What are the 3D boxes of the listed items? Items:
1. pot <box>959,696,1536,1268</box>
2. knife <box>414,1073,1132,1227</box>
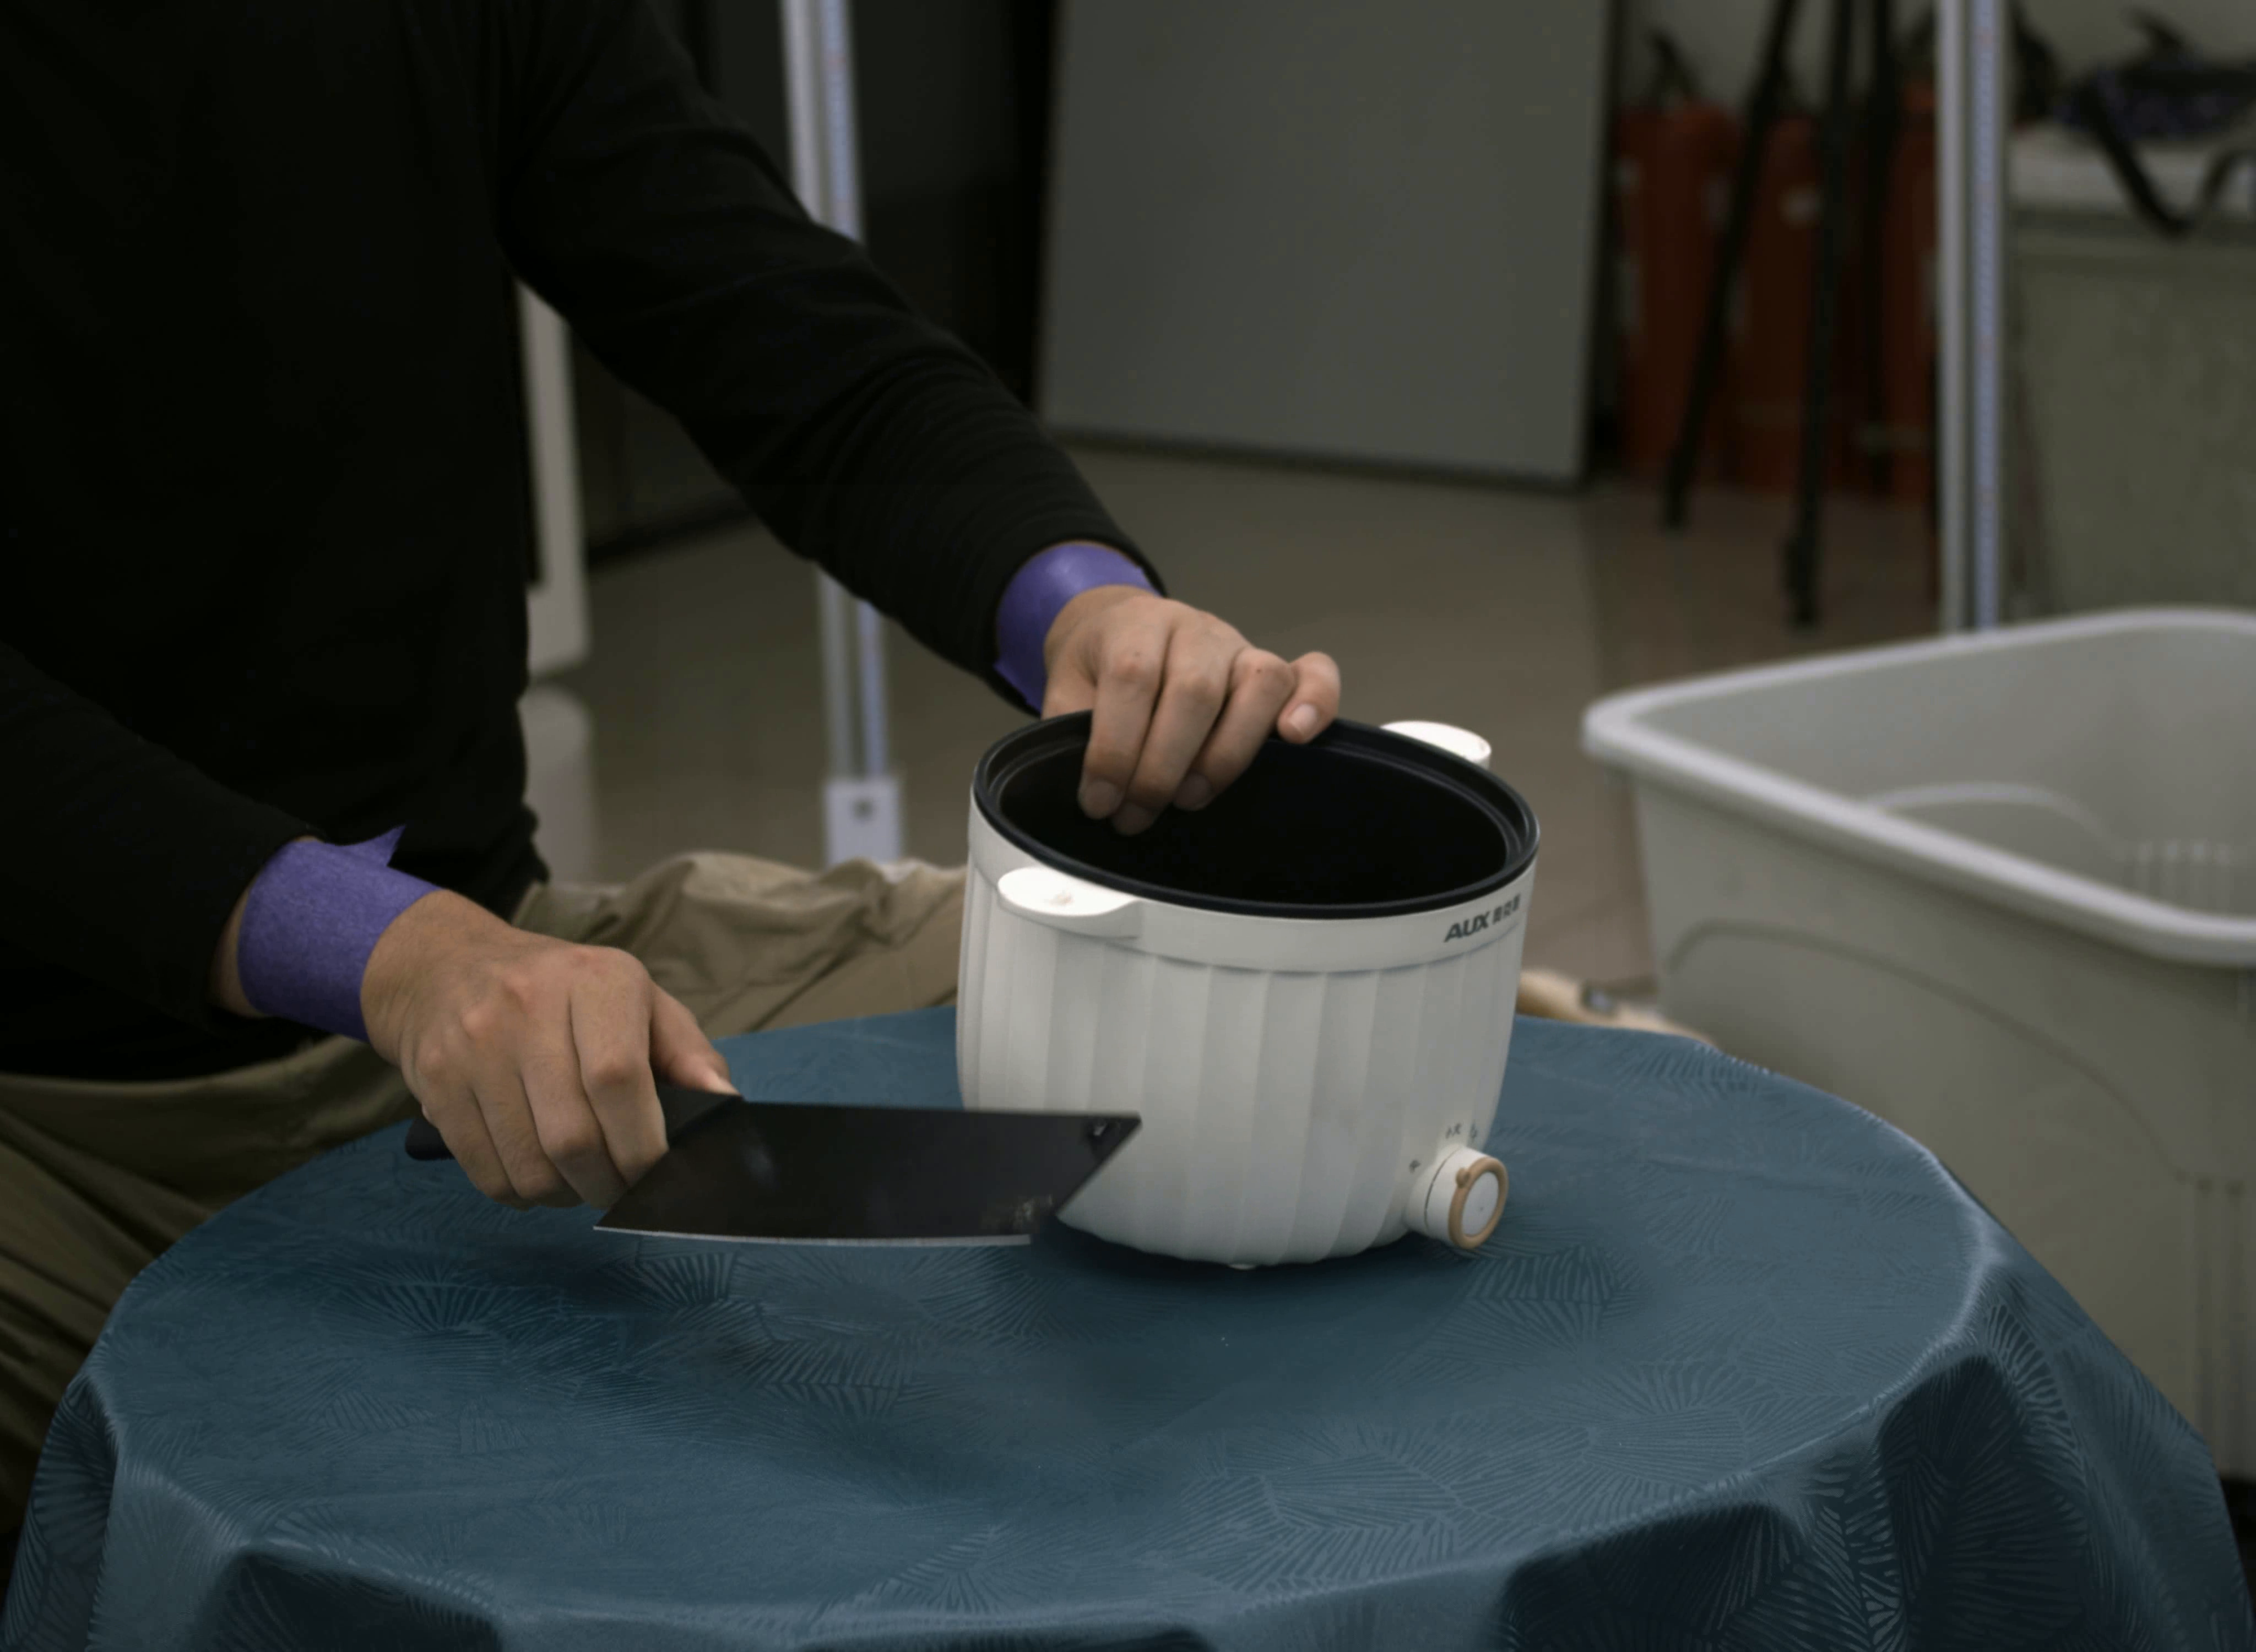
[{"bbox_3d":[0.040,0.053,1.718,0.192,0.144,0.236,15,23,34],"label":"pot"},{"bbox_3d":[-0.119,0.098,1.639,0.305,0.021,0.080,1,35,48],"label":"knife"}]
